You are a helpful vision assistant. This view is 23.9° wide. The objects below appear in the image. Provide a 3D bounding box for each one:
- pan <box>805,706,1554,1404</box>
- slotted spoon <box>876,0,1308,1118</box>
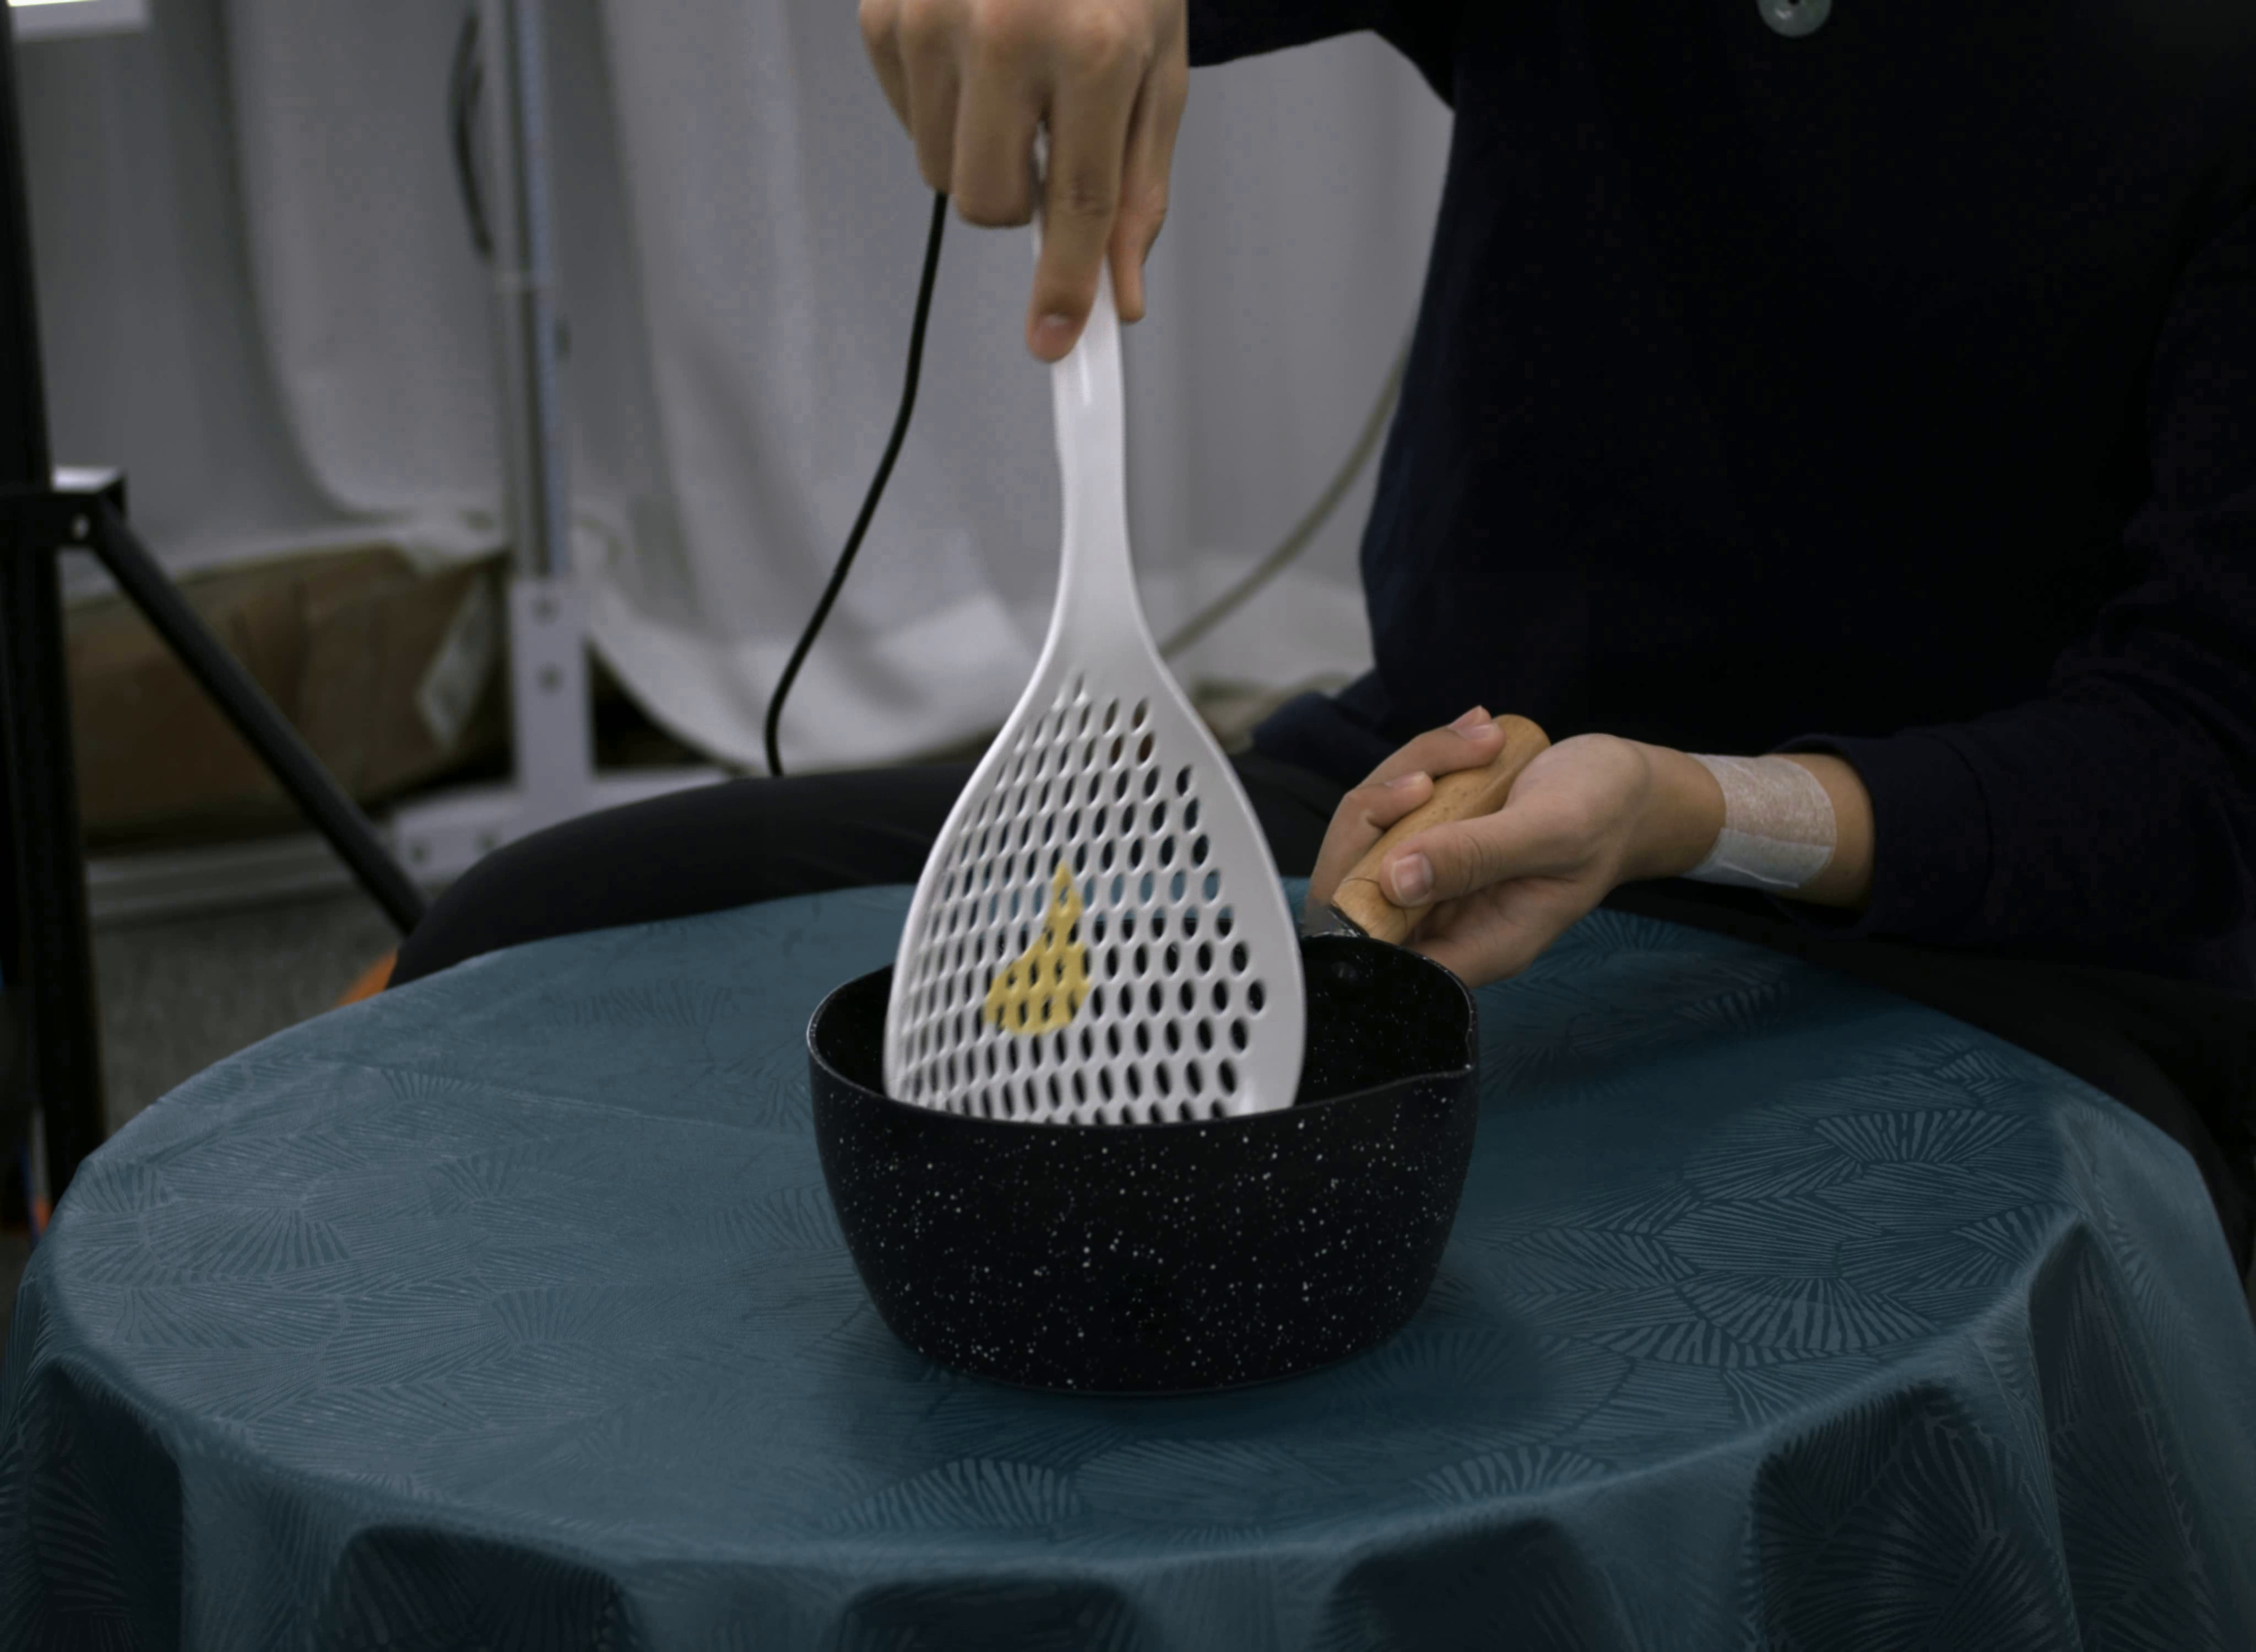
[{"bbox_3d":[0.042,0.060,1.522,0.211,0.108,0.337,5,19,28],"label":"pan"},{"bbox_3d":[-0.018,-0.048,1.435,0.134,0.348,0.051,-9,18,-28],"label":"slotted spoon"}]
